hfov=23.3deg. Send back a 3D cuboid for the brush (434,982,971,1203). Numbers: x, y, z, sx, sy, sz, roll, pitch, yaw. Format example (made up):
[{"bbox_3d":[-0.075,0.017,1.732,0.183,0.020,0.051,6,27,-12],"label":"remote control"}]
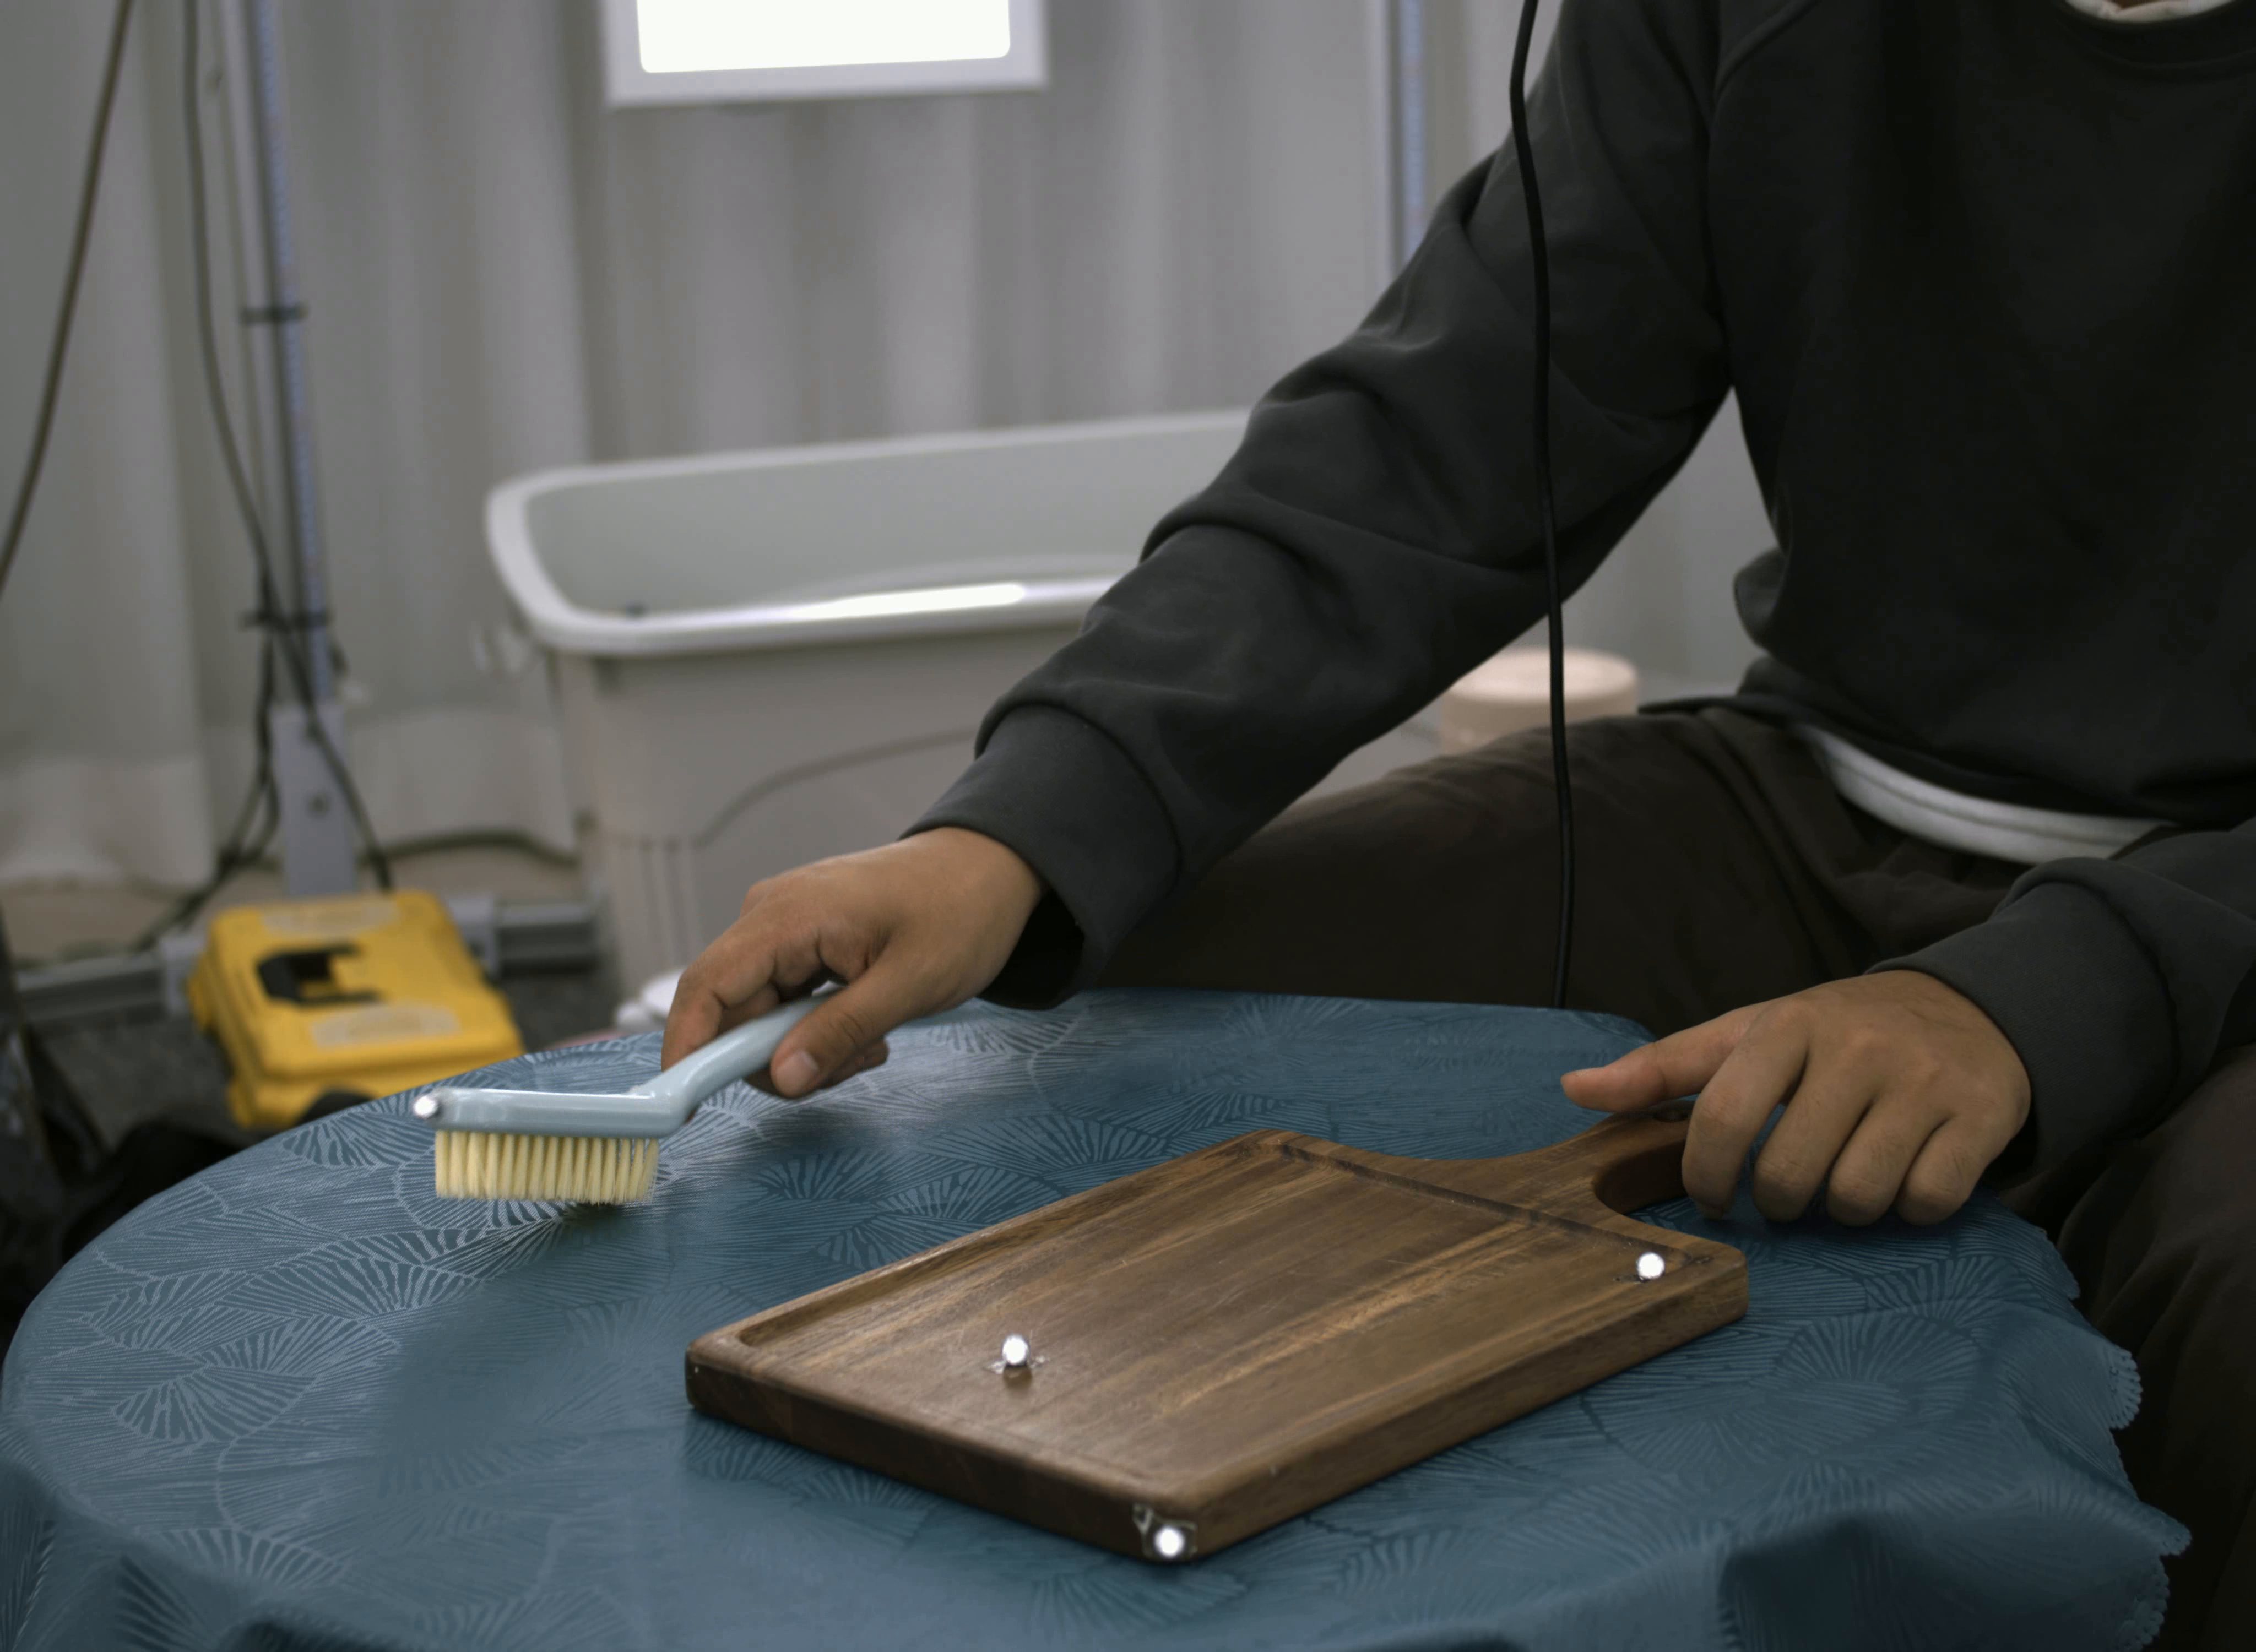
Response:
[{"bbox_3d":[-0.133,0.088,1.759,0.038,0.049,0.228,0,9,40],"label":"brush"}]

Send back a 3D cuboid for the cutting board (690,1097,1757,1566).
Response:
[{"bbox_3d":[0.064,0.133,1.597,0.202,0.023,0.351,12,21,43],"label":"cutting board"}]
